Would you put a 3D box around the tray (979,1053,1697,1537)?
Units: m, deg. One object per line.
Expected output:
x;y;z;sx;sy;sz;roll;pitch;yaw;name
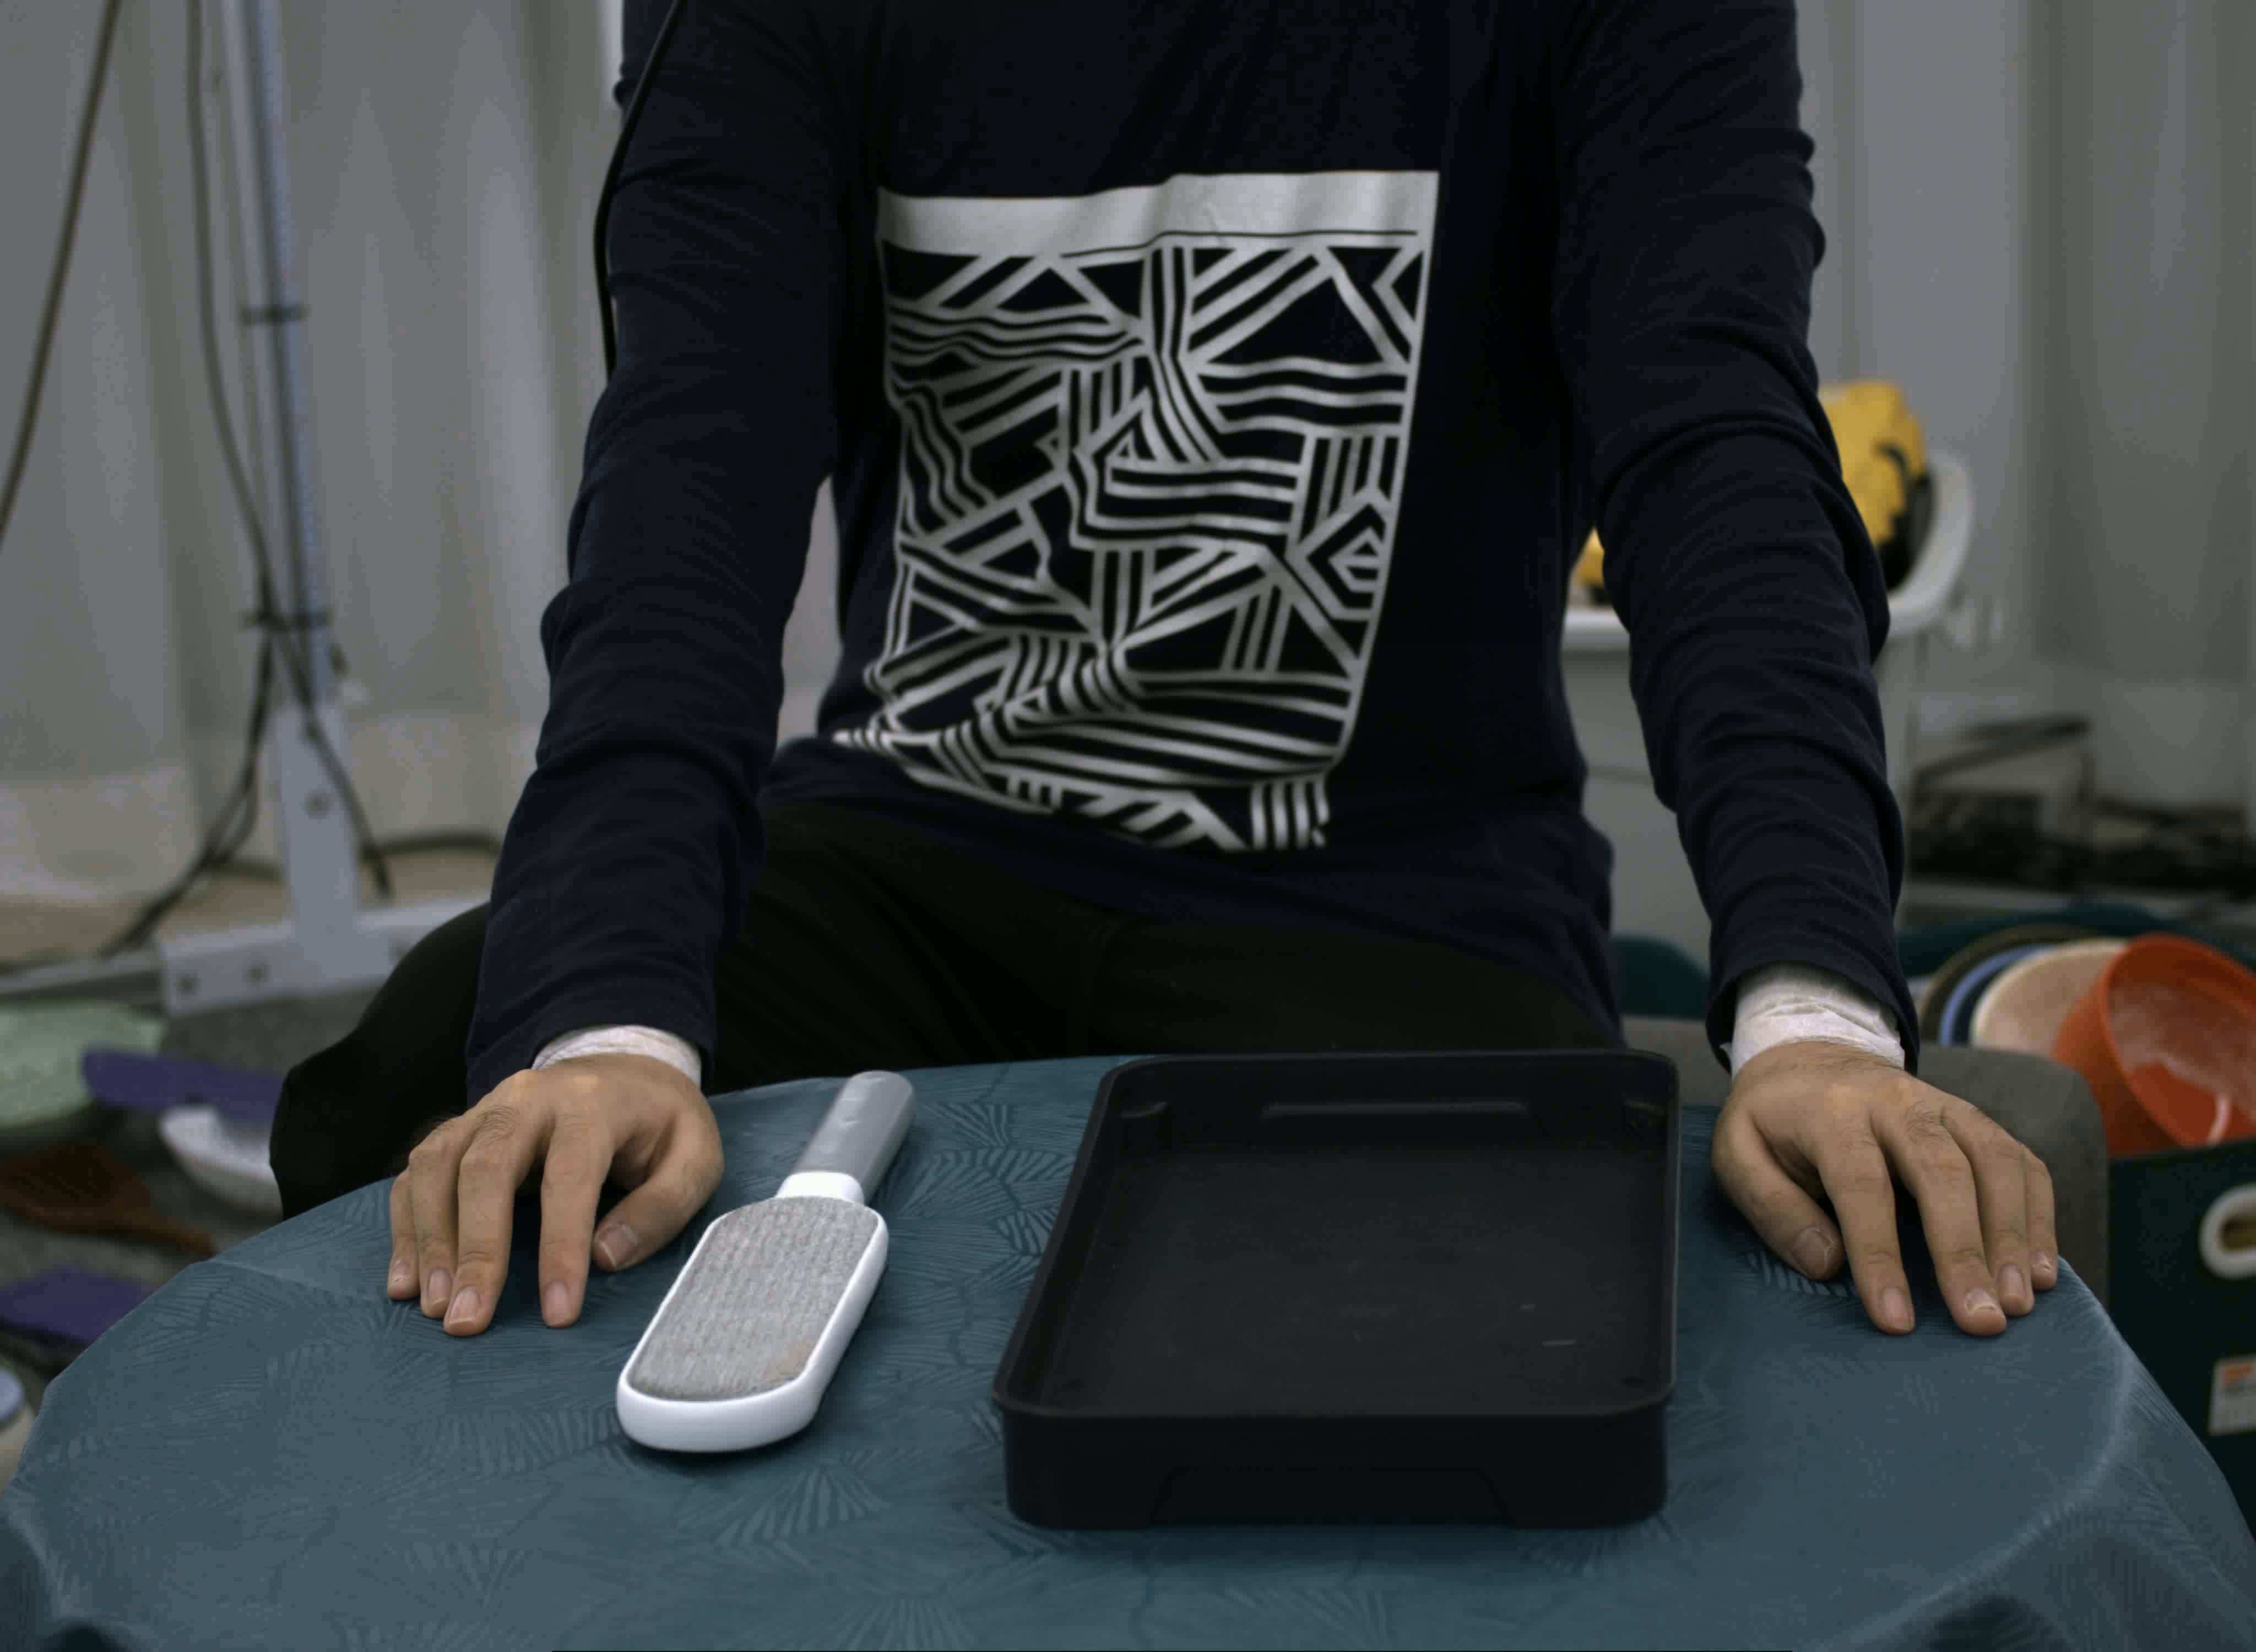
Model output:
0.069;0.129;1.581;0.184;0.037;0.320;-1;15;8;tray

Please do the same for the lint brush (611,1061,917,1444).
-0.099;0.124;1.648;0.060;0.021;0.310;-6;14;9;lint brush
